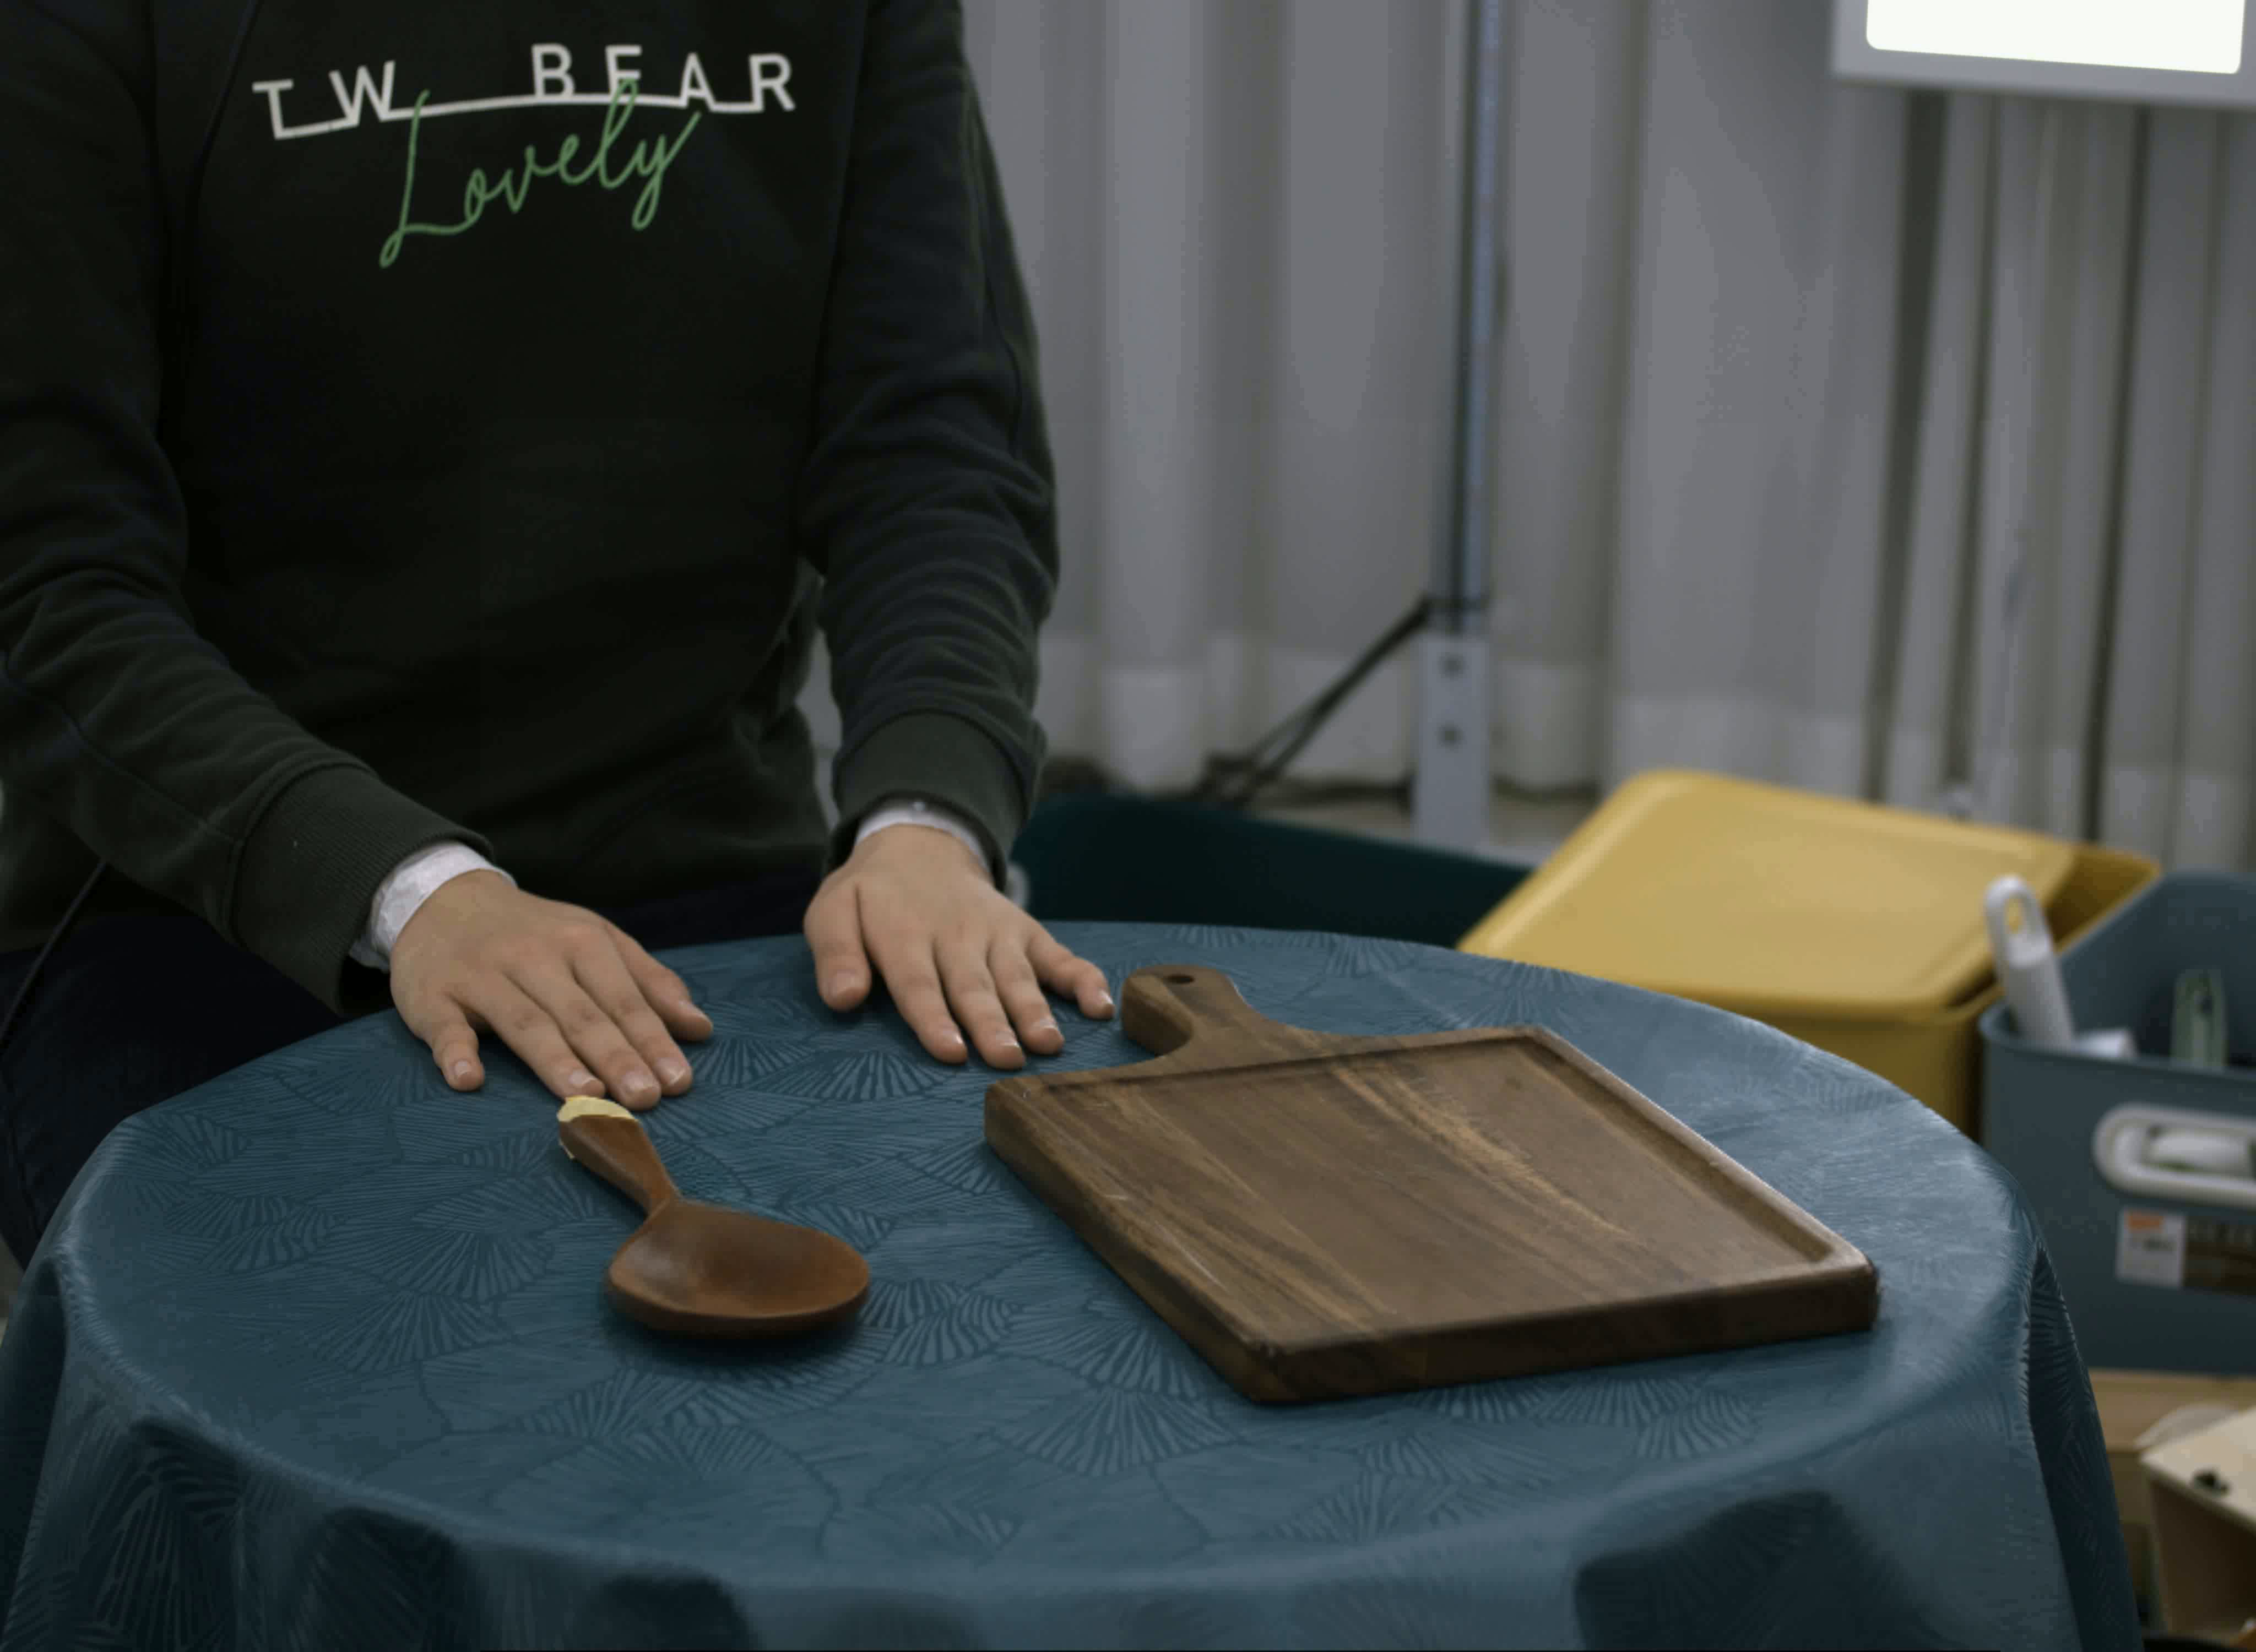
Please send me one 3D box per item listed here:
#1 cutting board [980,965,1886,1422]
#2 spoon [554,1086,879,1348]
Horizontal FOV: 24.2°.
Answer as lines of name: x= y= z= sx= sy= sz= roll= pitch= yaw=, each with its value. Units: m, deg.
cutting board: x=0.069 y=0.102 z=1.636 sx=0.201 sy=0.023 sz=0.348 roll=-6 pitch=17 yaw=-19
spoon: x=-0.133 y=0.117 z=1.572 sx=0.075 sy=0.017 sz=0.213 roll=-8 pitch=18 yaw=-20
